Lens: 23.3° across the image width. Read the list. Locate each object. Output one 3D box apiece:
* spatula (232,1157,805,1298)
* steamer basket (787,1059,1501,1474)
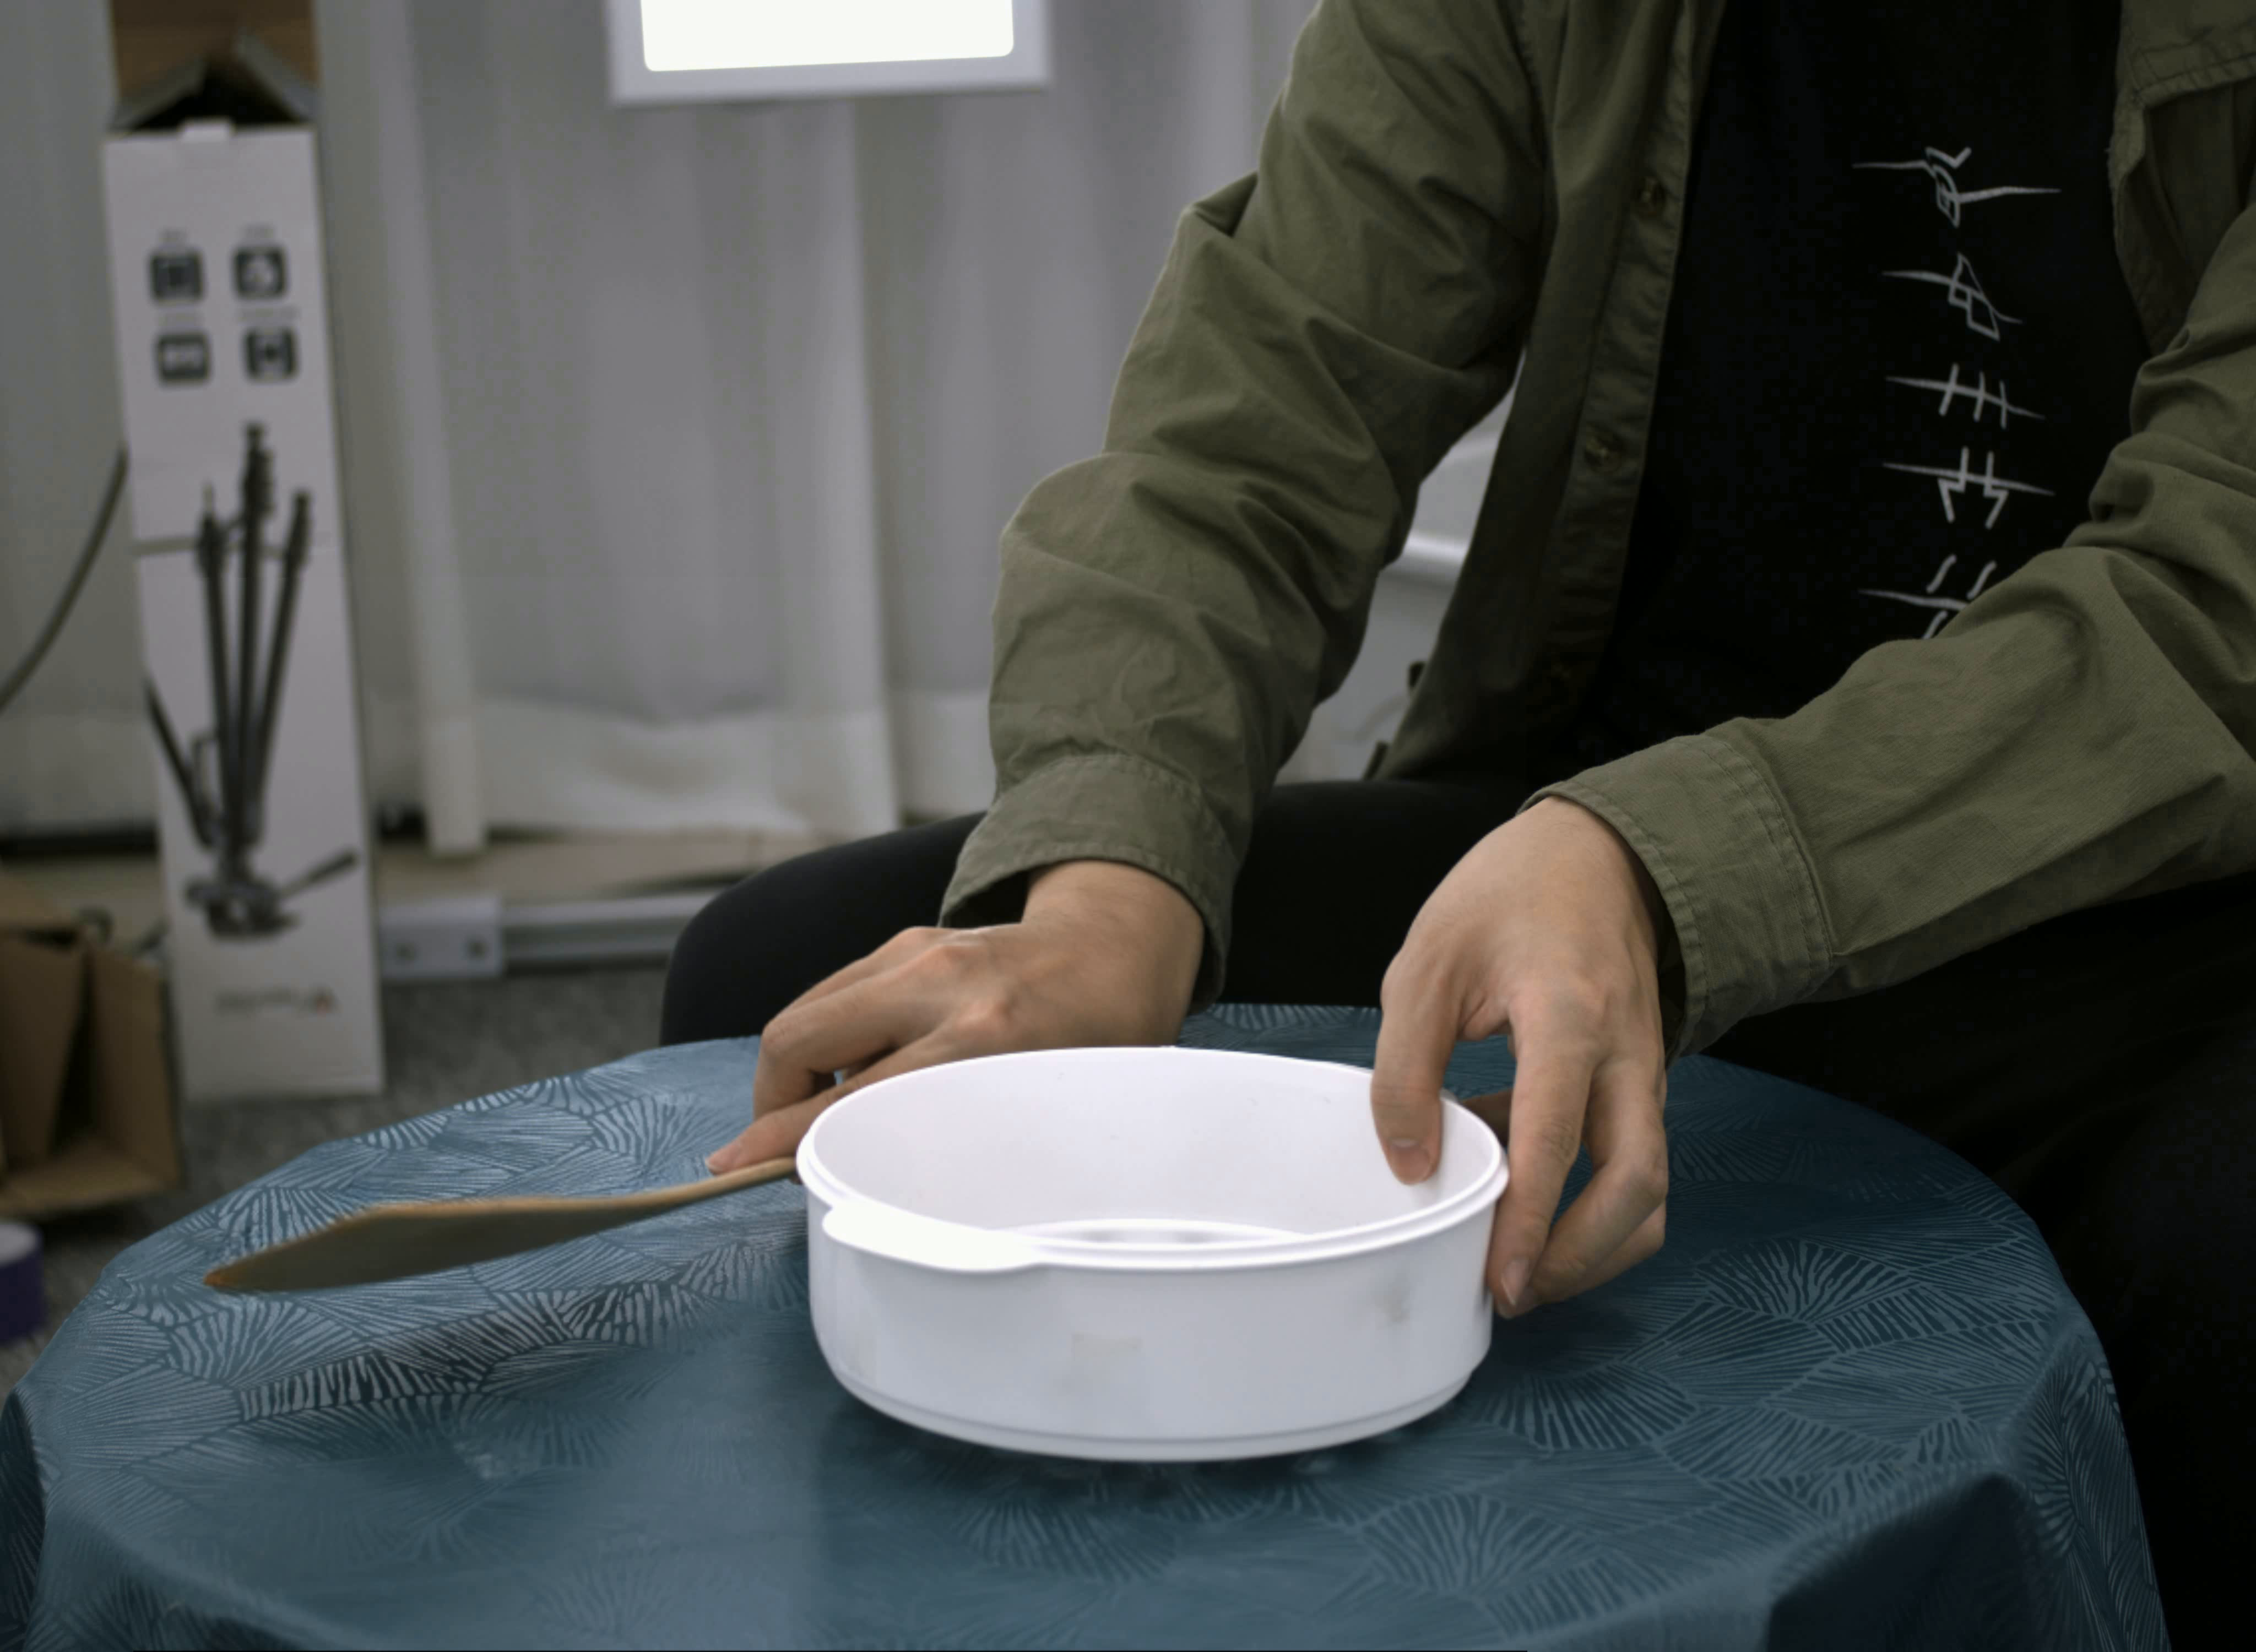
[{"bbox_3d":[-0.123,0.107,1.665,0.079,0.016,0.326,-25,-9,42],"label":"spatula"},{"bbox_3d":[0.003,0.124,1.543,0.203,0.069,0.230,11,16,37],"label":"steamer basket"}]
